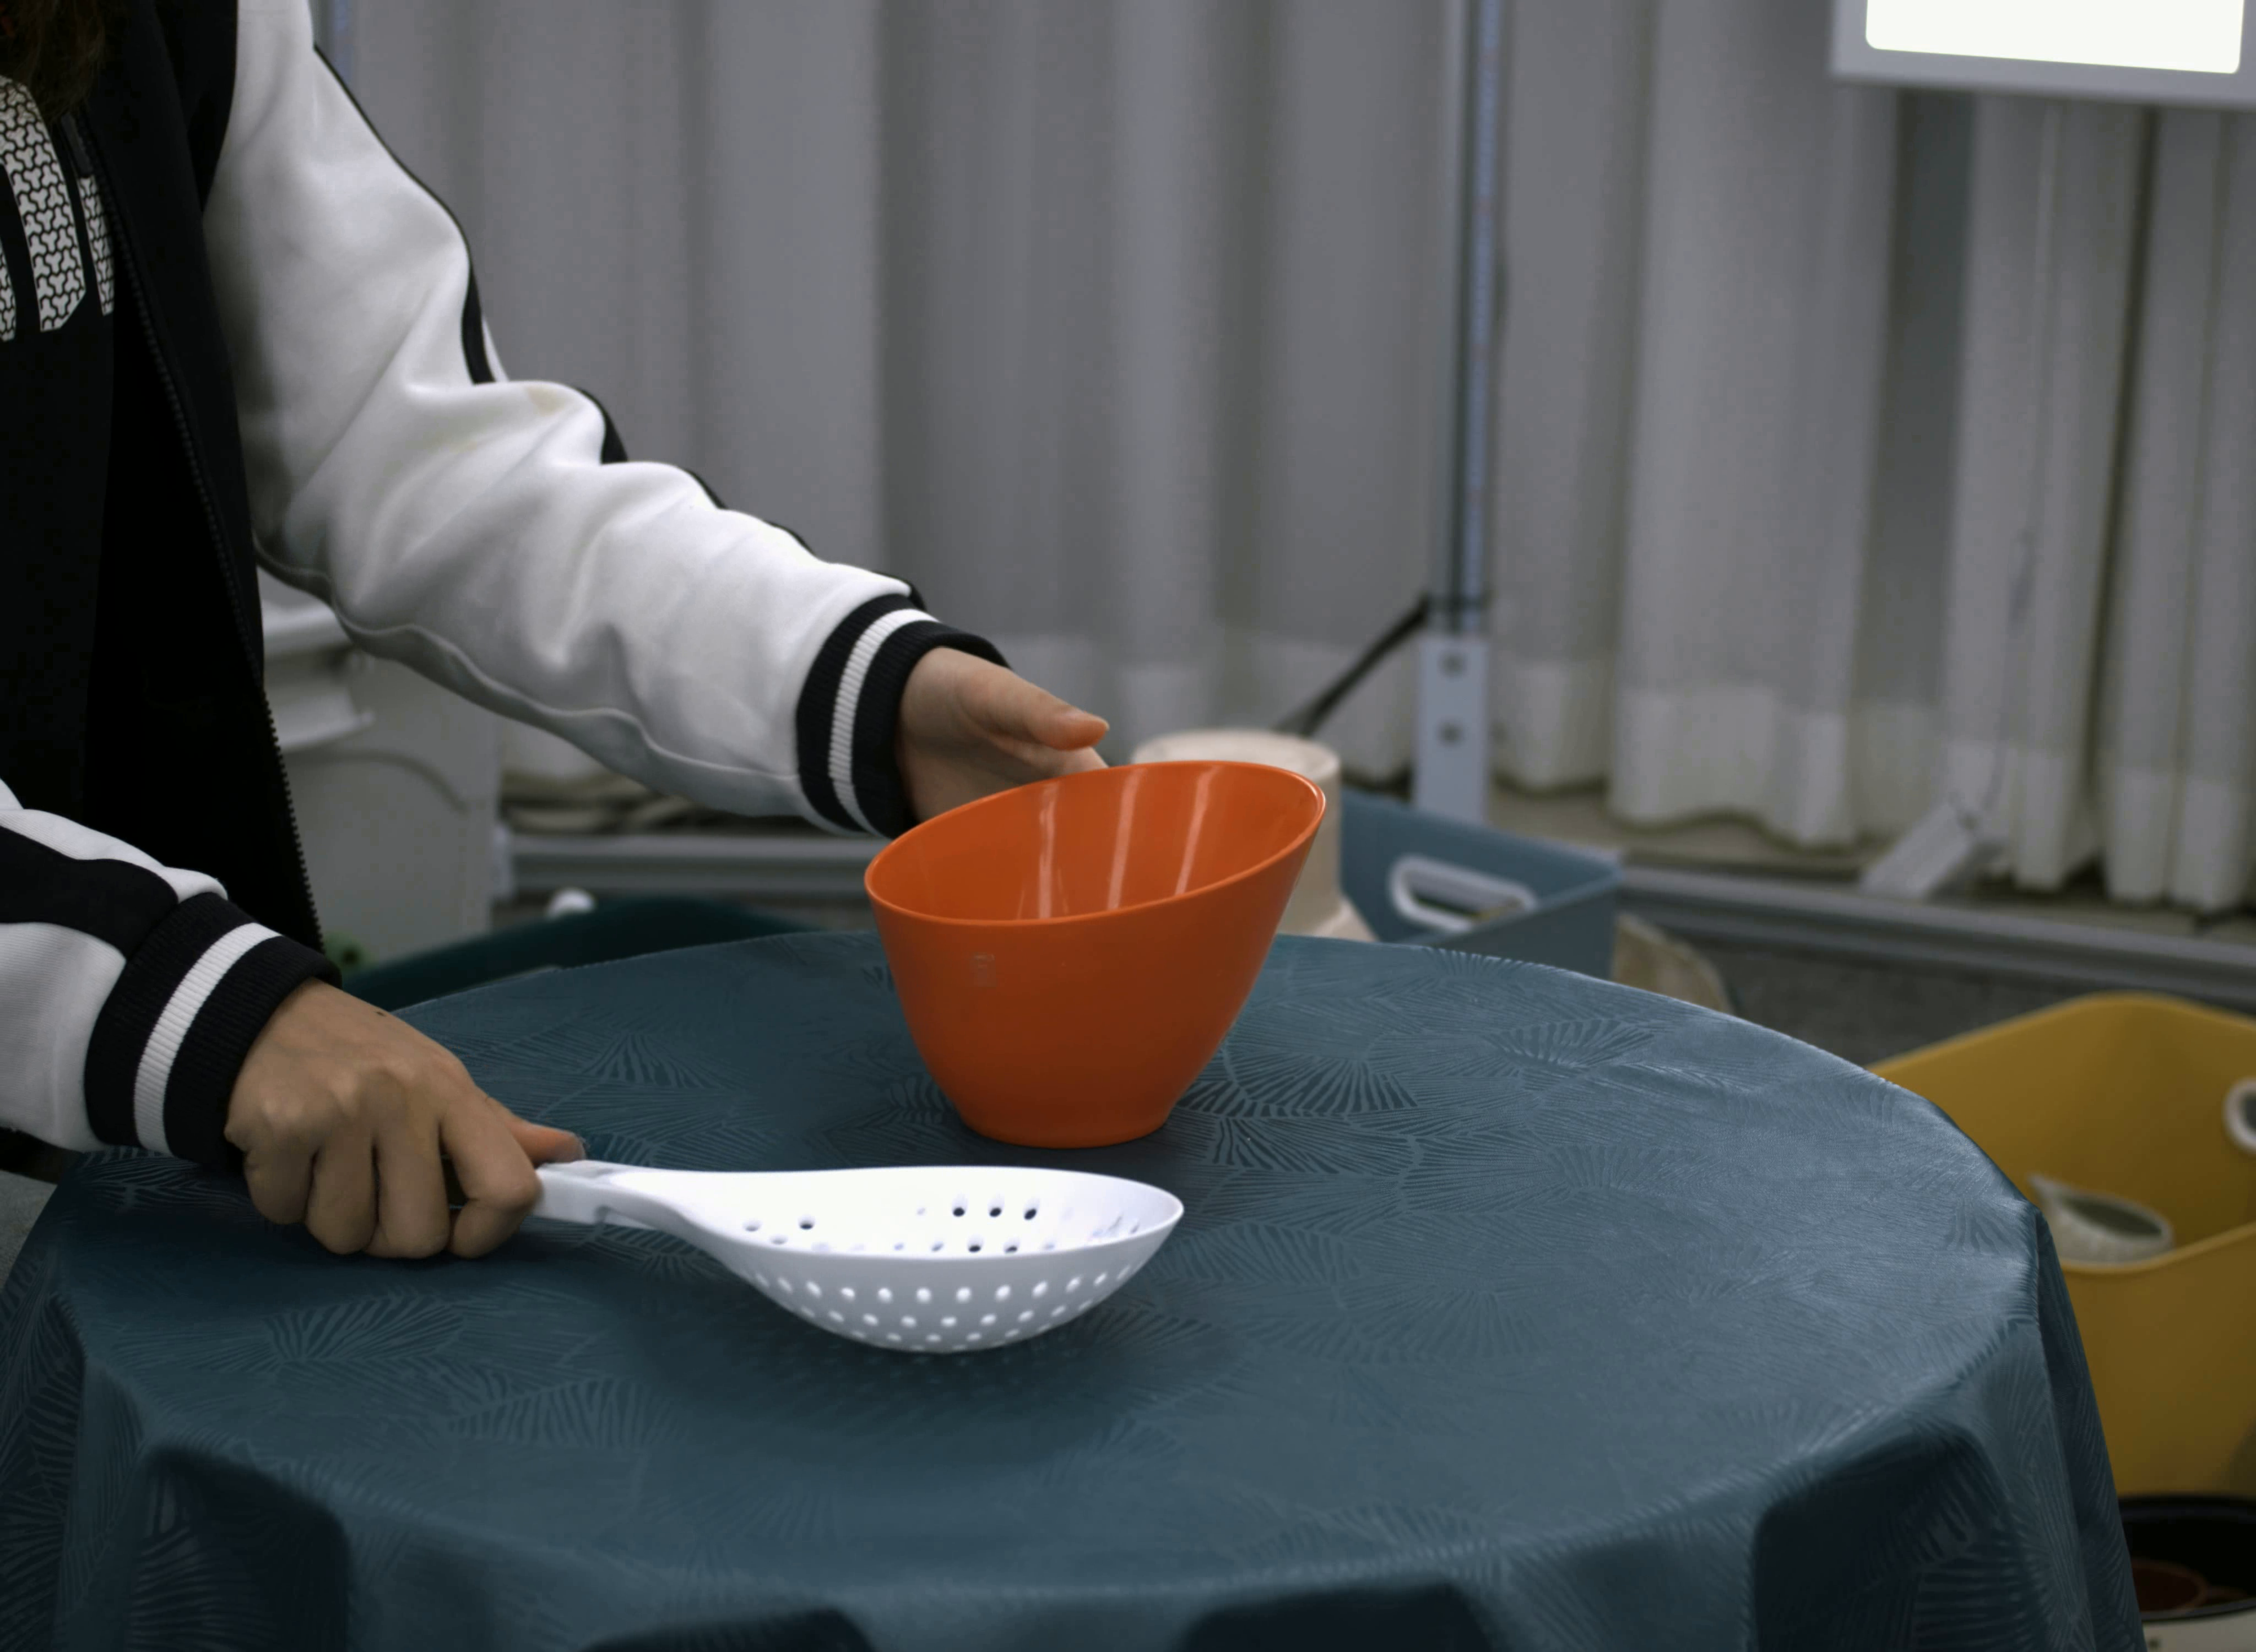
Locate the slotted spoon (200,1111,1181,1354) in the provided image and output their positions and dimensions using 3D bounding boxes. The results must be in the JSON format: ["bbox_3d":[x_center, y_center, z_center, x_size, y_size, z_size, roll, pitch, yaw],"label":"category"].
[{"bbox_3d":[-0.141,0.109,1.544,0.345,0.046,0.137,10,10,34],"label":"slotted spoon"}]

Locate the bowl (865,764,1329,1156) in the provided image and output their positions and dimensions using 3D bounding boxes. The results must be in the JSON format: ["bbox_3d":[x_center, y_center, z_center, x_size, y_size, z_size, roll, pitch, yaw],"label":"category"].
[{"bbox_3d":[-0.009,0.045,1.678,0.147,0.105,0.147,0,17,1],"label":"bowl"}]
